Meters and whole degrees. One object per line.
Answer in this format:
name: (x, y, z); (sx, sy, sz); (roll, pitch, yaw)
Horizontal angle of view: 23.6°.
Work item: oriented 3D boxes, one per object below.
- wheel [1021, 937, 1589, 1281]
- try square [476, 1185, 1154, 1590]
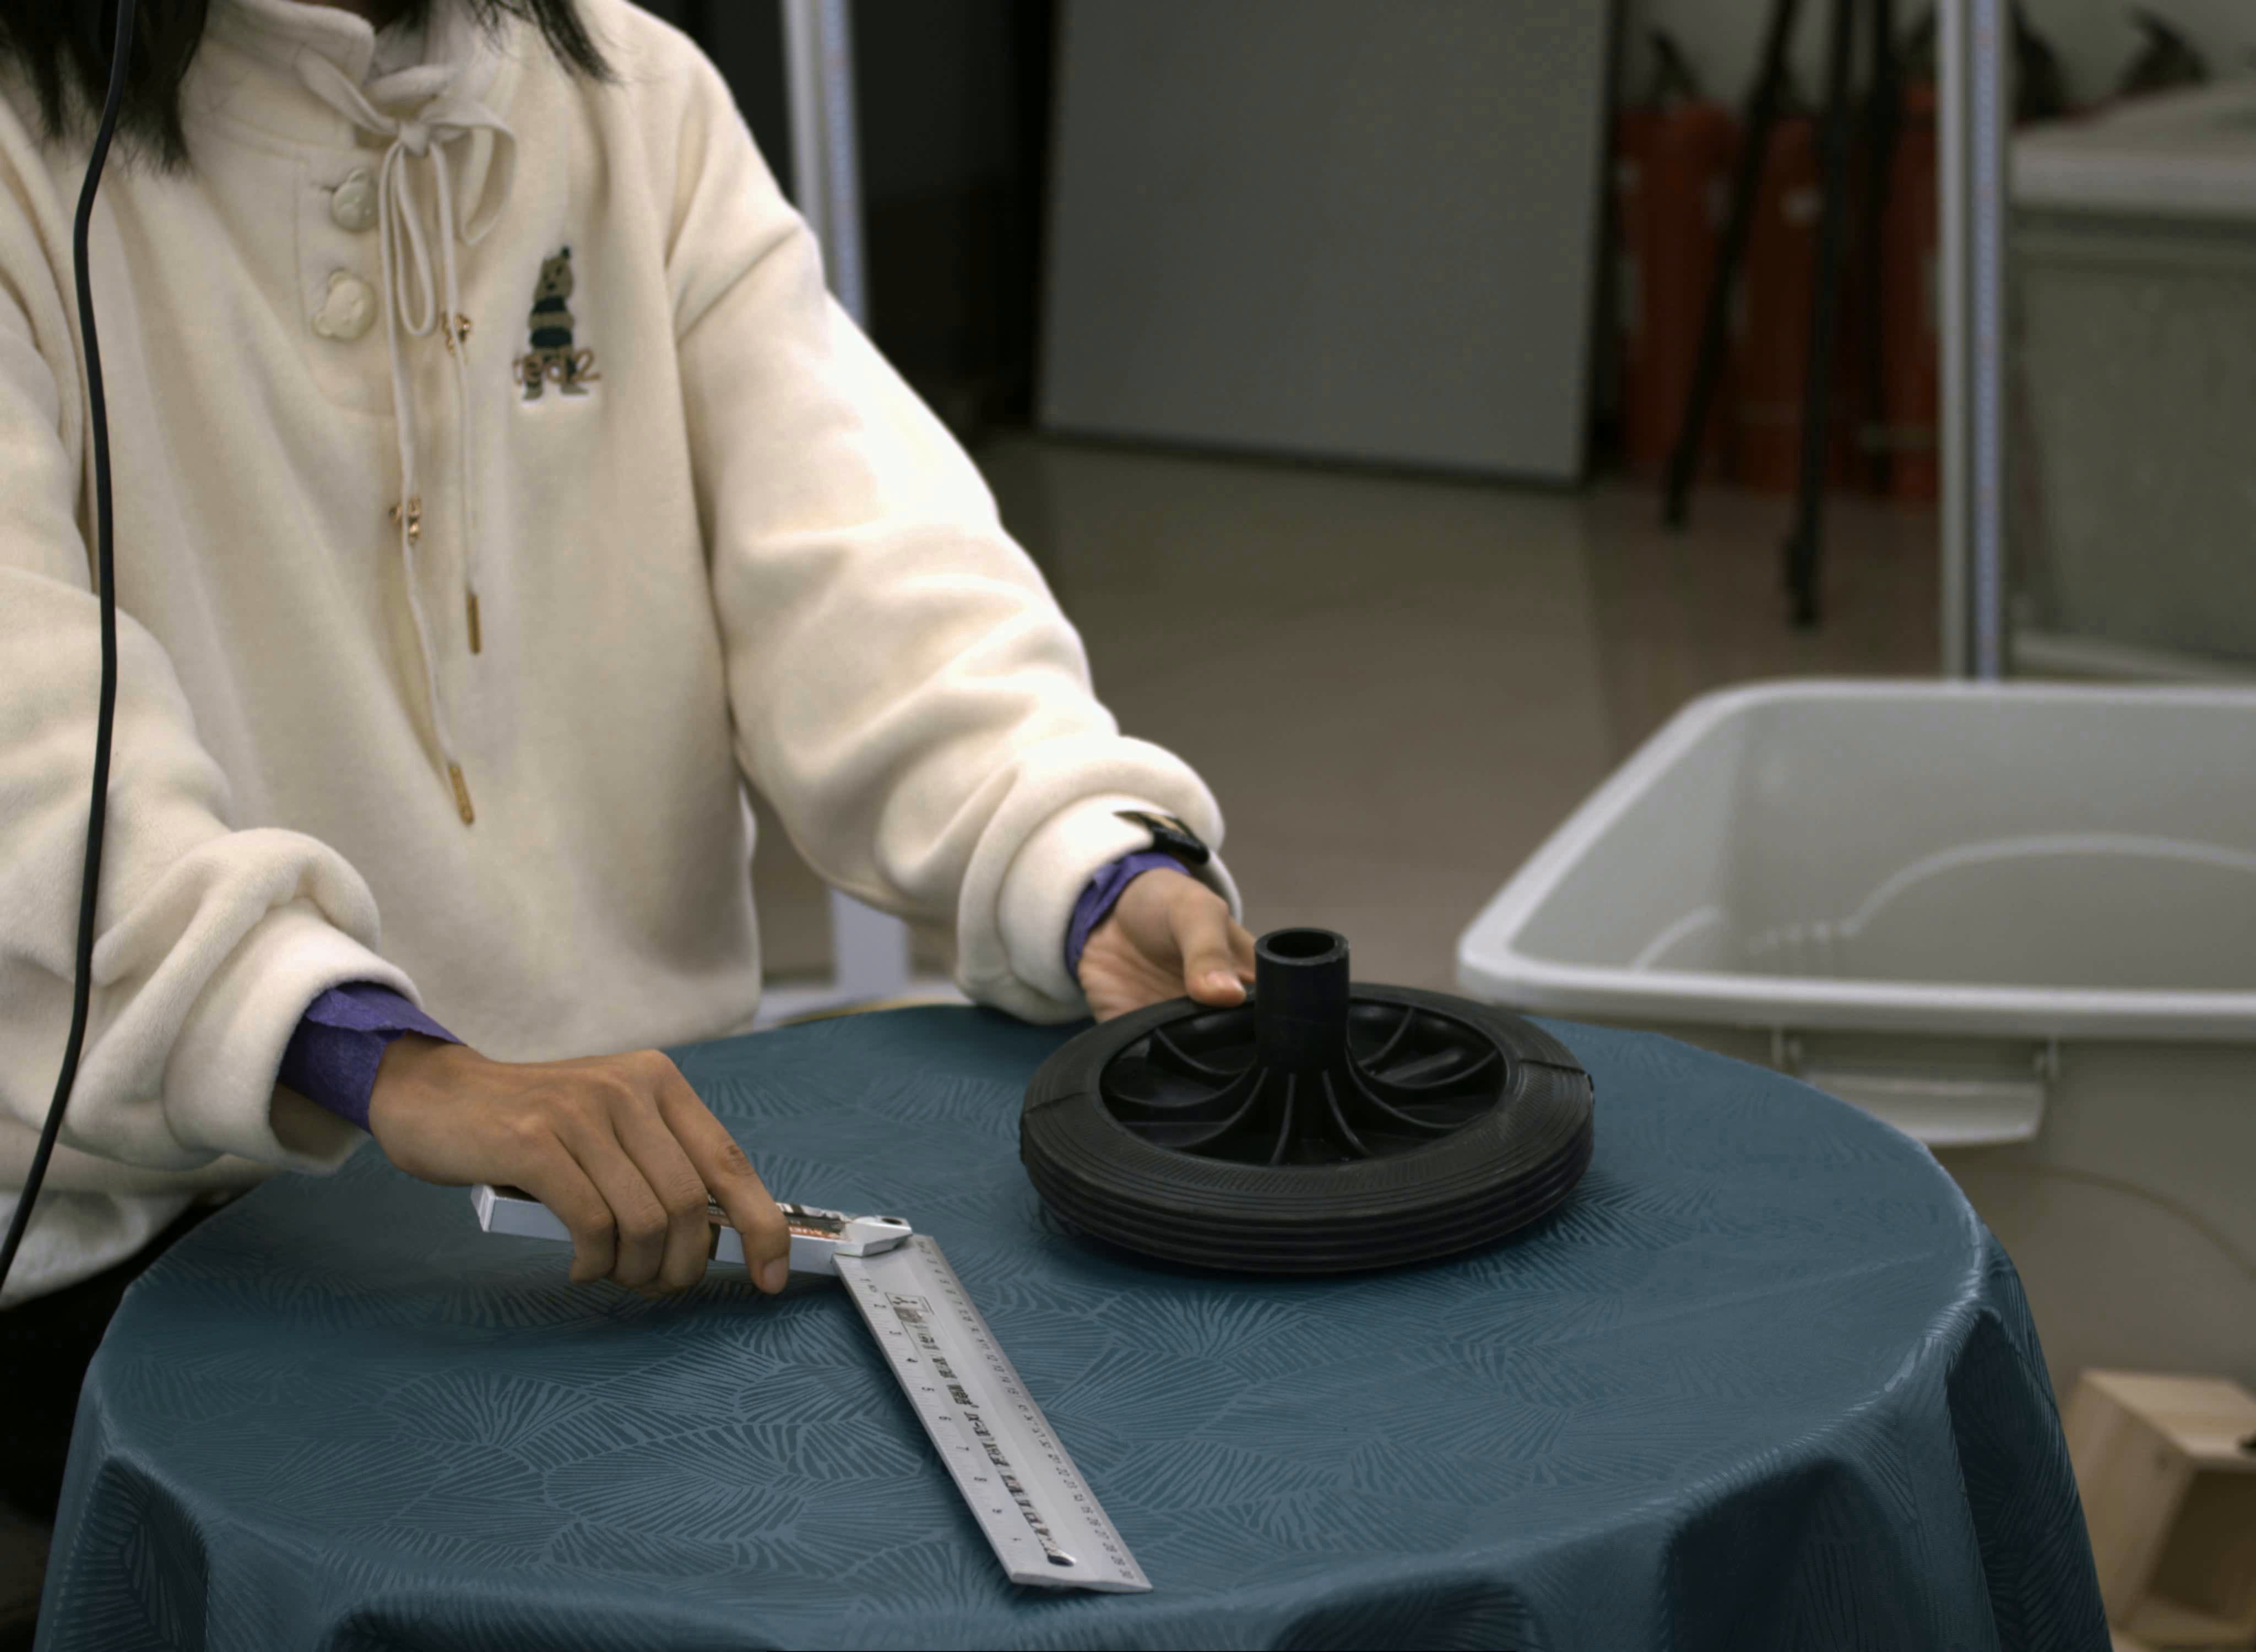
wheel: (0.057, 0.078, 1.743); (0.188, 0.080, 0.187); (10, 24, 31)
try square: (-0.098, 0.160, 1.565); (0.149, 0.016, 0.315); (6, 12, -14)
